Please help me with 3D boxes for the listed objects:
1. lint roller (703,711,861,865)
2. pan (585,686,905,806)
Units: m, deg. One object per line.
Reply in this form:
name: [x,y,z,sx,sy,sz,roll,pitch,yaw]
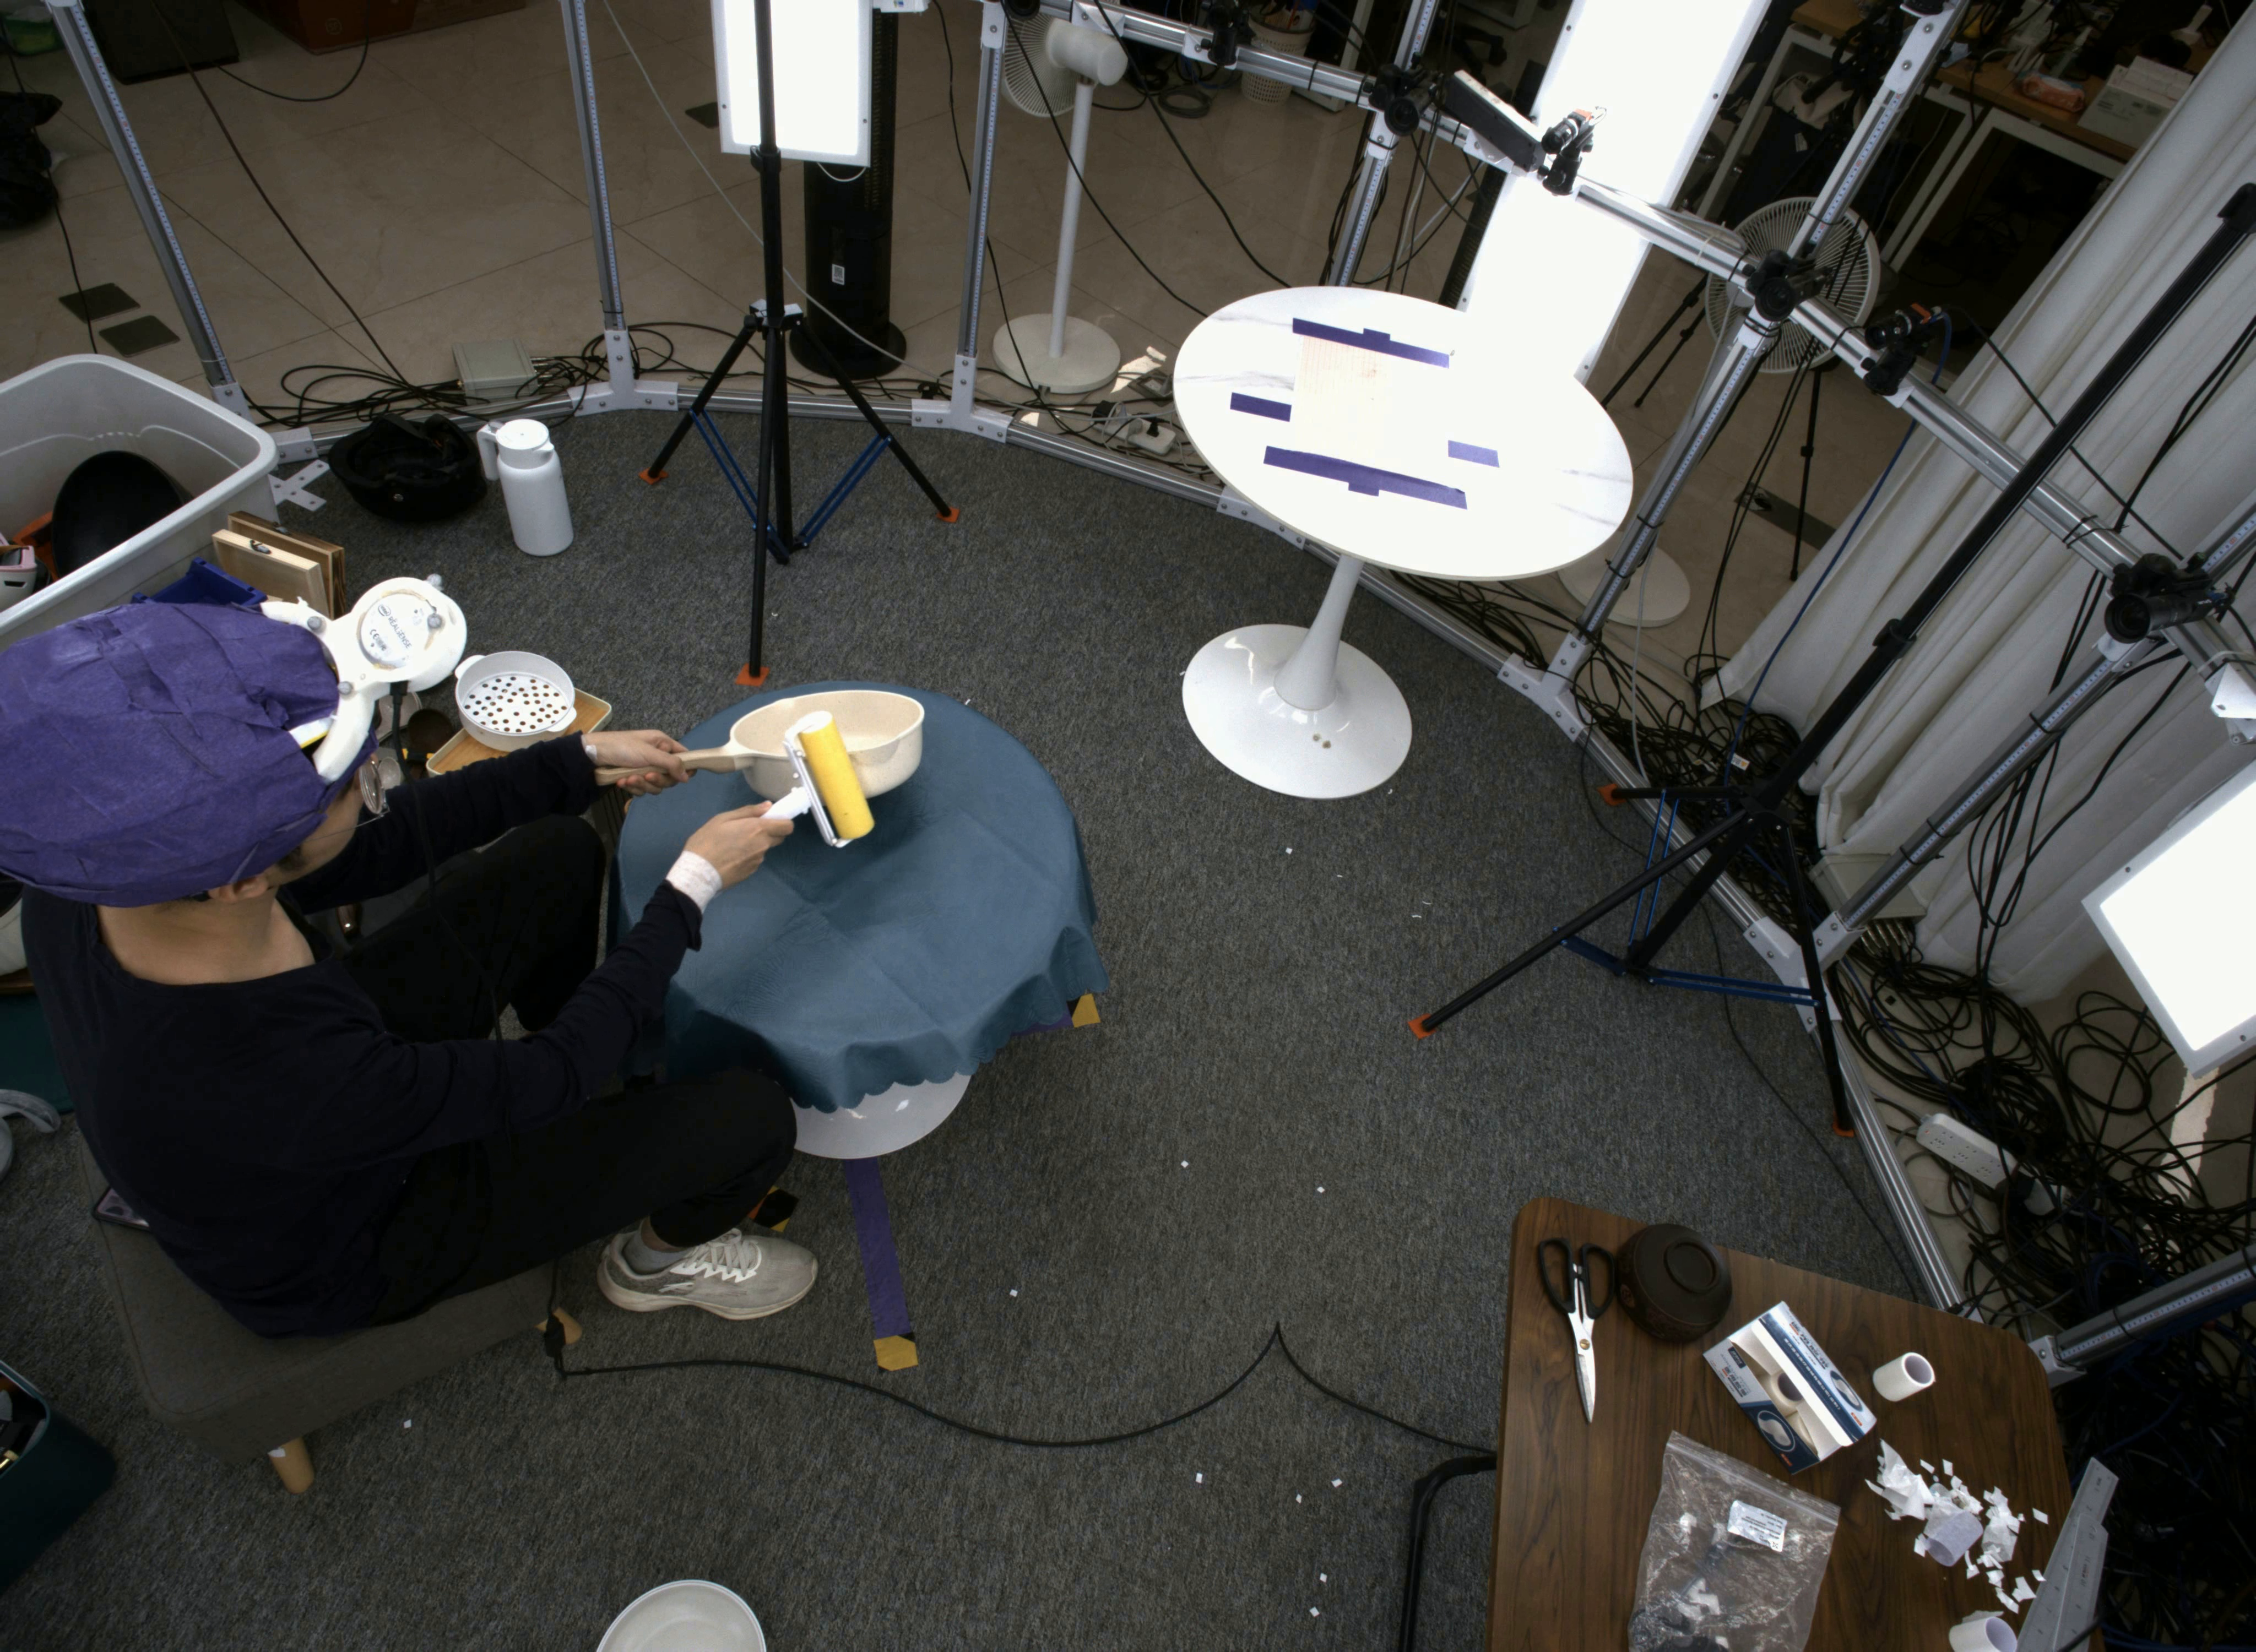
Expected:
lint roller: [-0.419,-0.016,1.534,0.049,0.181,0.192,15,47,35]
pan: [-0.483,-0.079,1.648,0.438,0.105,0.253,-24,35,-38]
